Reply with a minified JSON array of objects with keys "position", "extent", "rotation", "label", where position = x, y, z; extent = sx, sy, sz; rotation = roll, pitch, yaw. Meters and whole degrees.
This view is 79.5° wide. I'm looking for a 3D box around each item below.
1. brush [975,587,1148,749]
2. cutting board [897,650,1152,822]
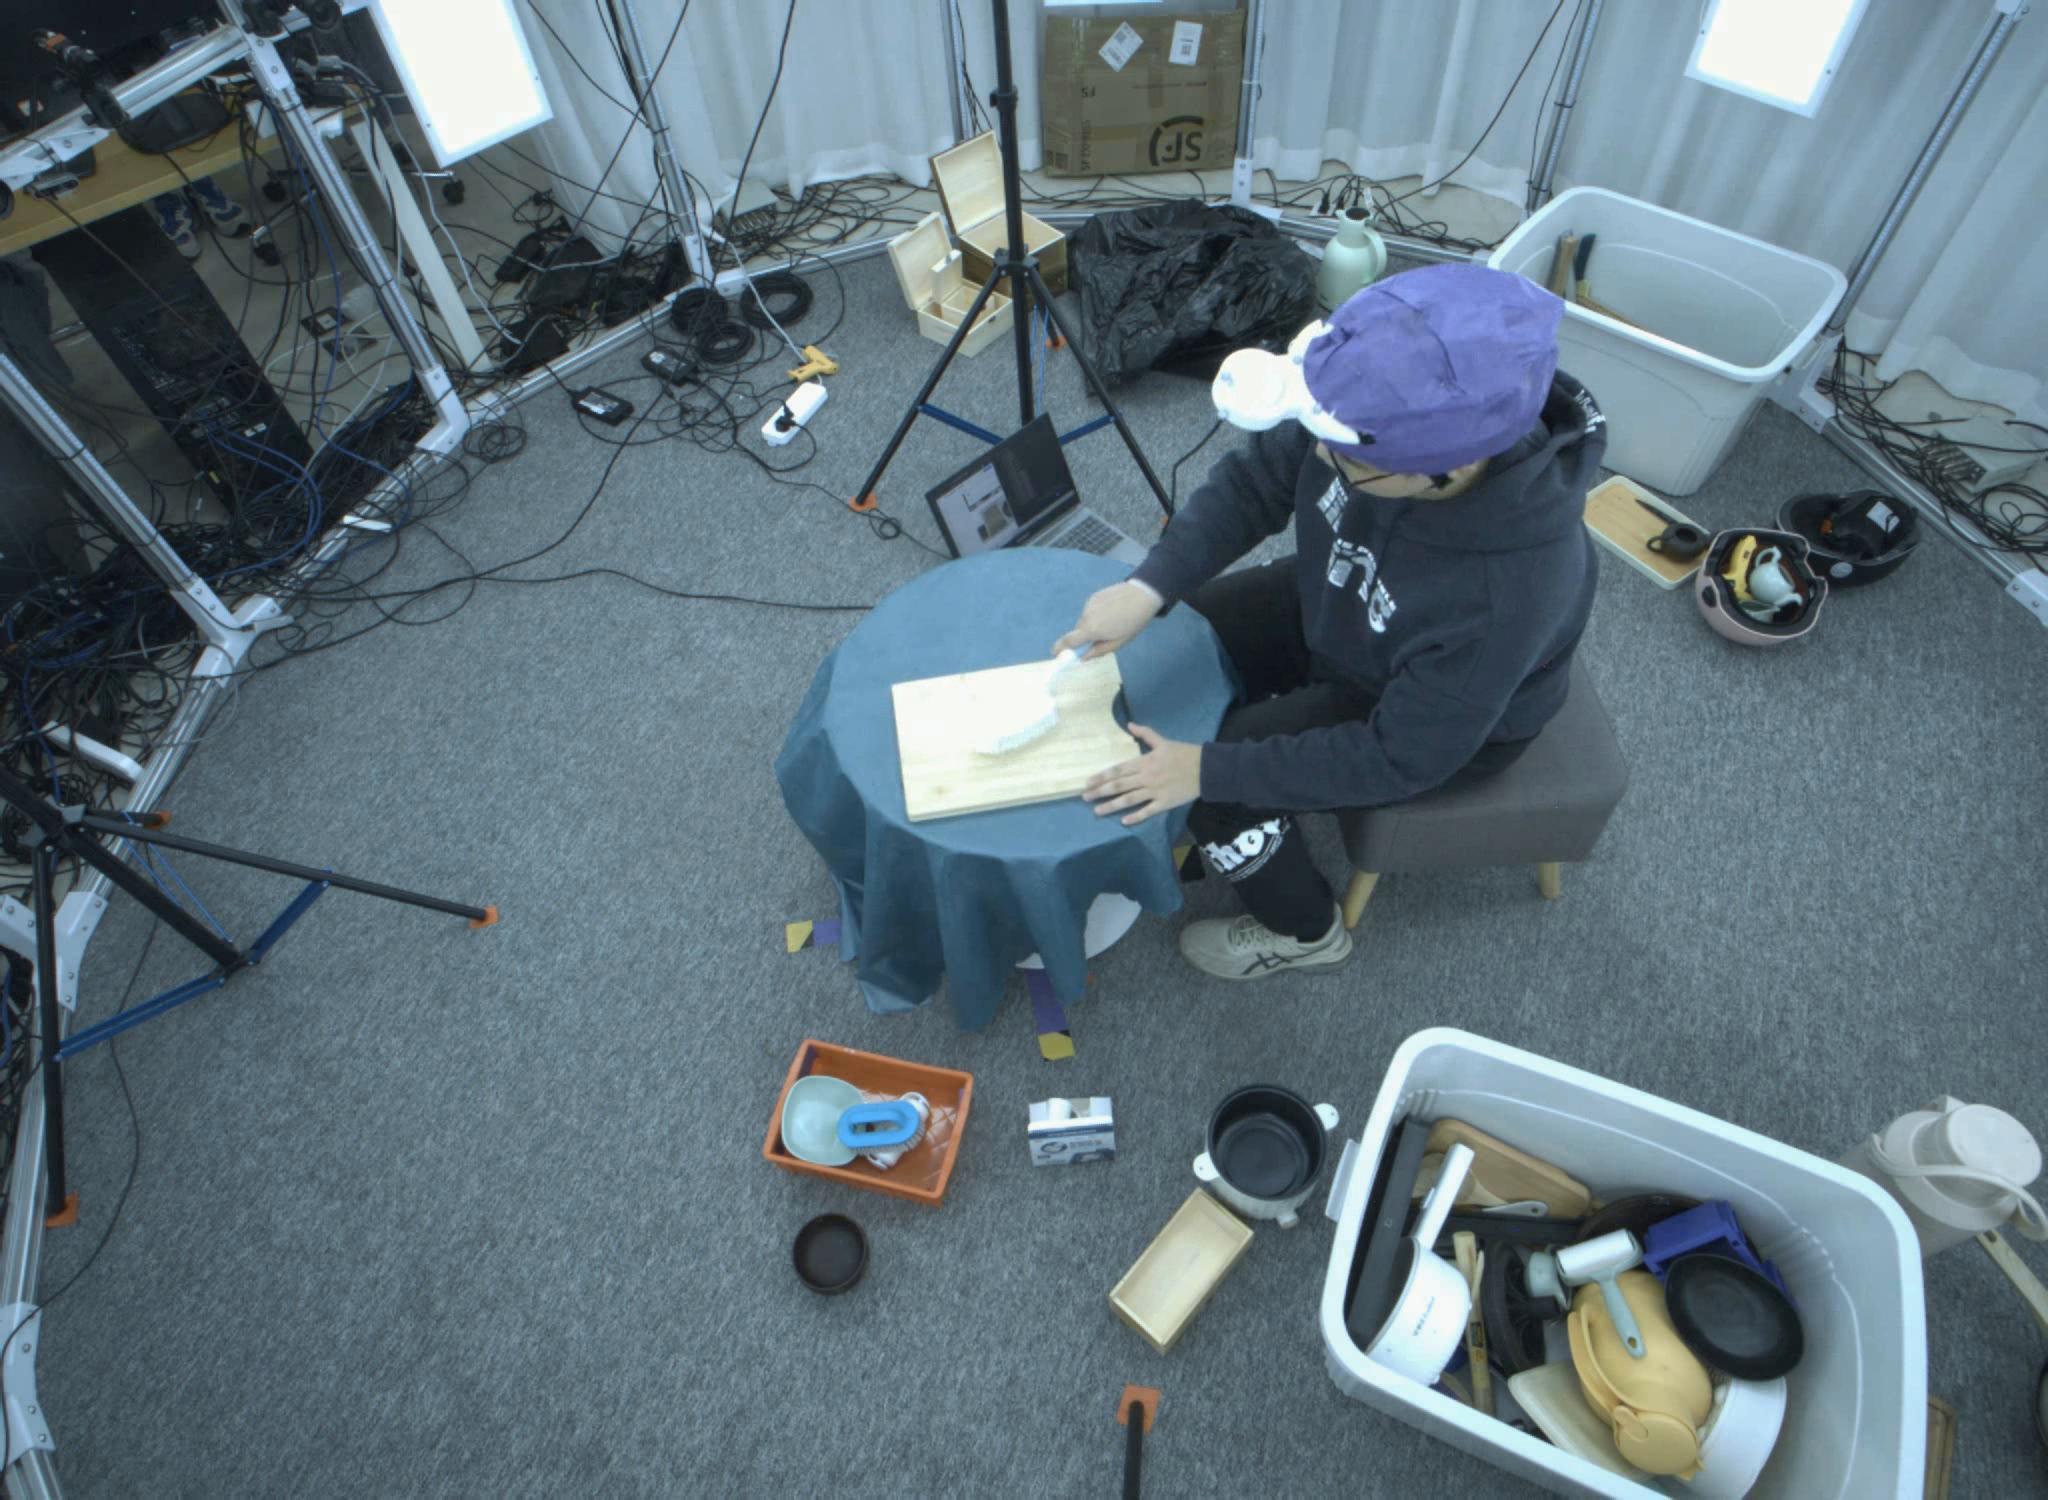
[{"position":[0.065,-0.110,1.785],"extent":[0.326,0.084,0.083],"rotation":[-41,95,-8],"label":"brush"},{"position":[-0.008,-0.026,1.797],"extent":[0.350,0.024,0.247],"rotation":[-9,56,-5],"label":"cutting board"}]
